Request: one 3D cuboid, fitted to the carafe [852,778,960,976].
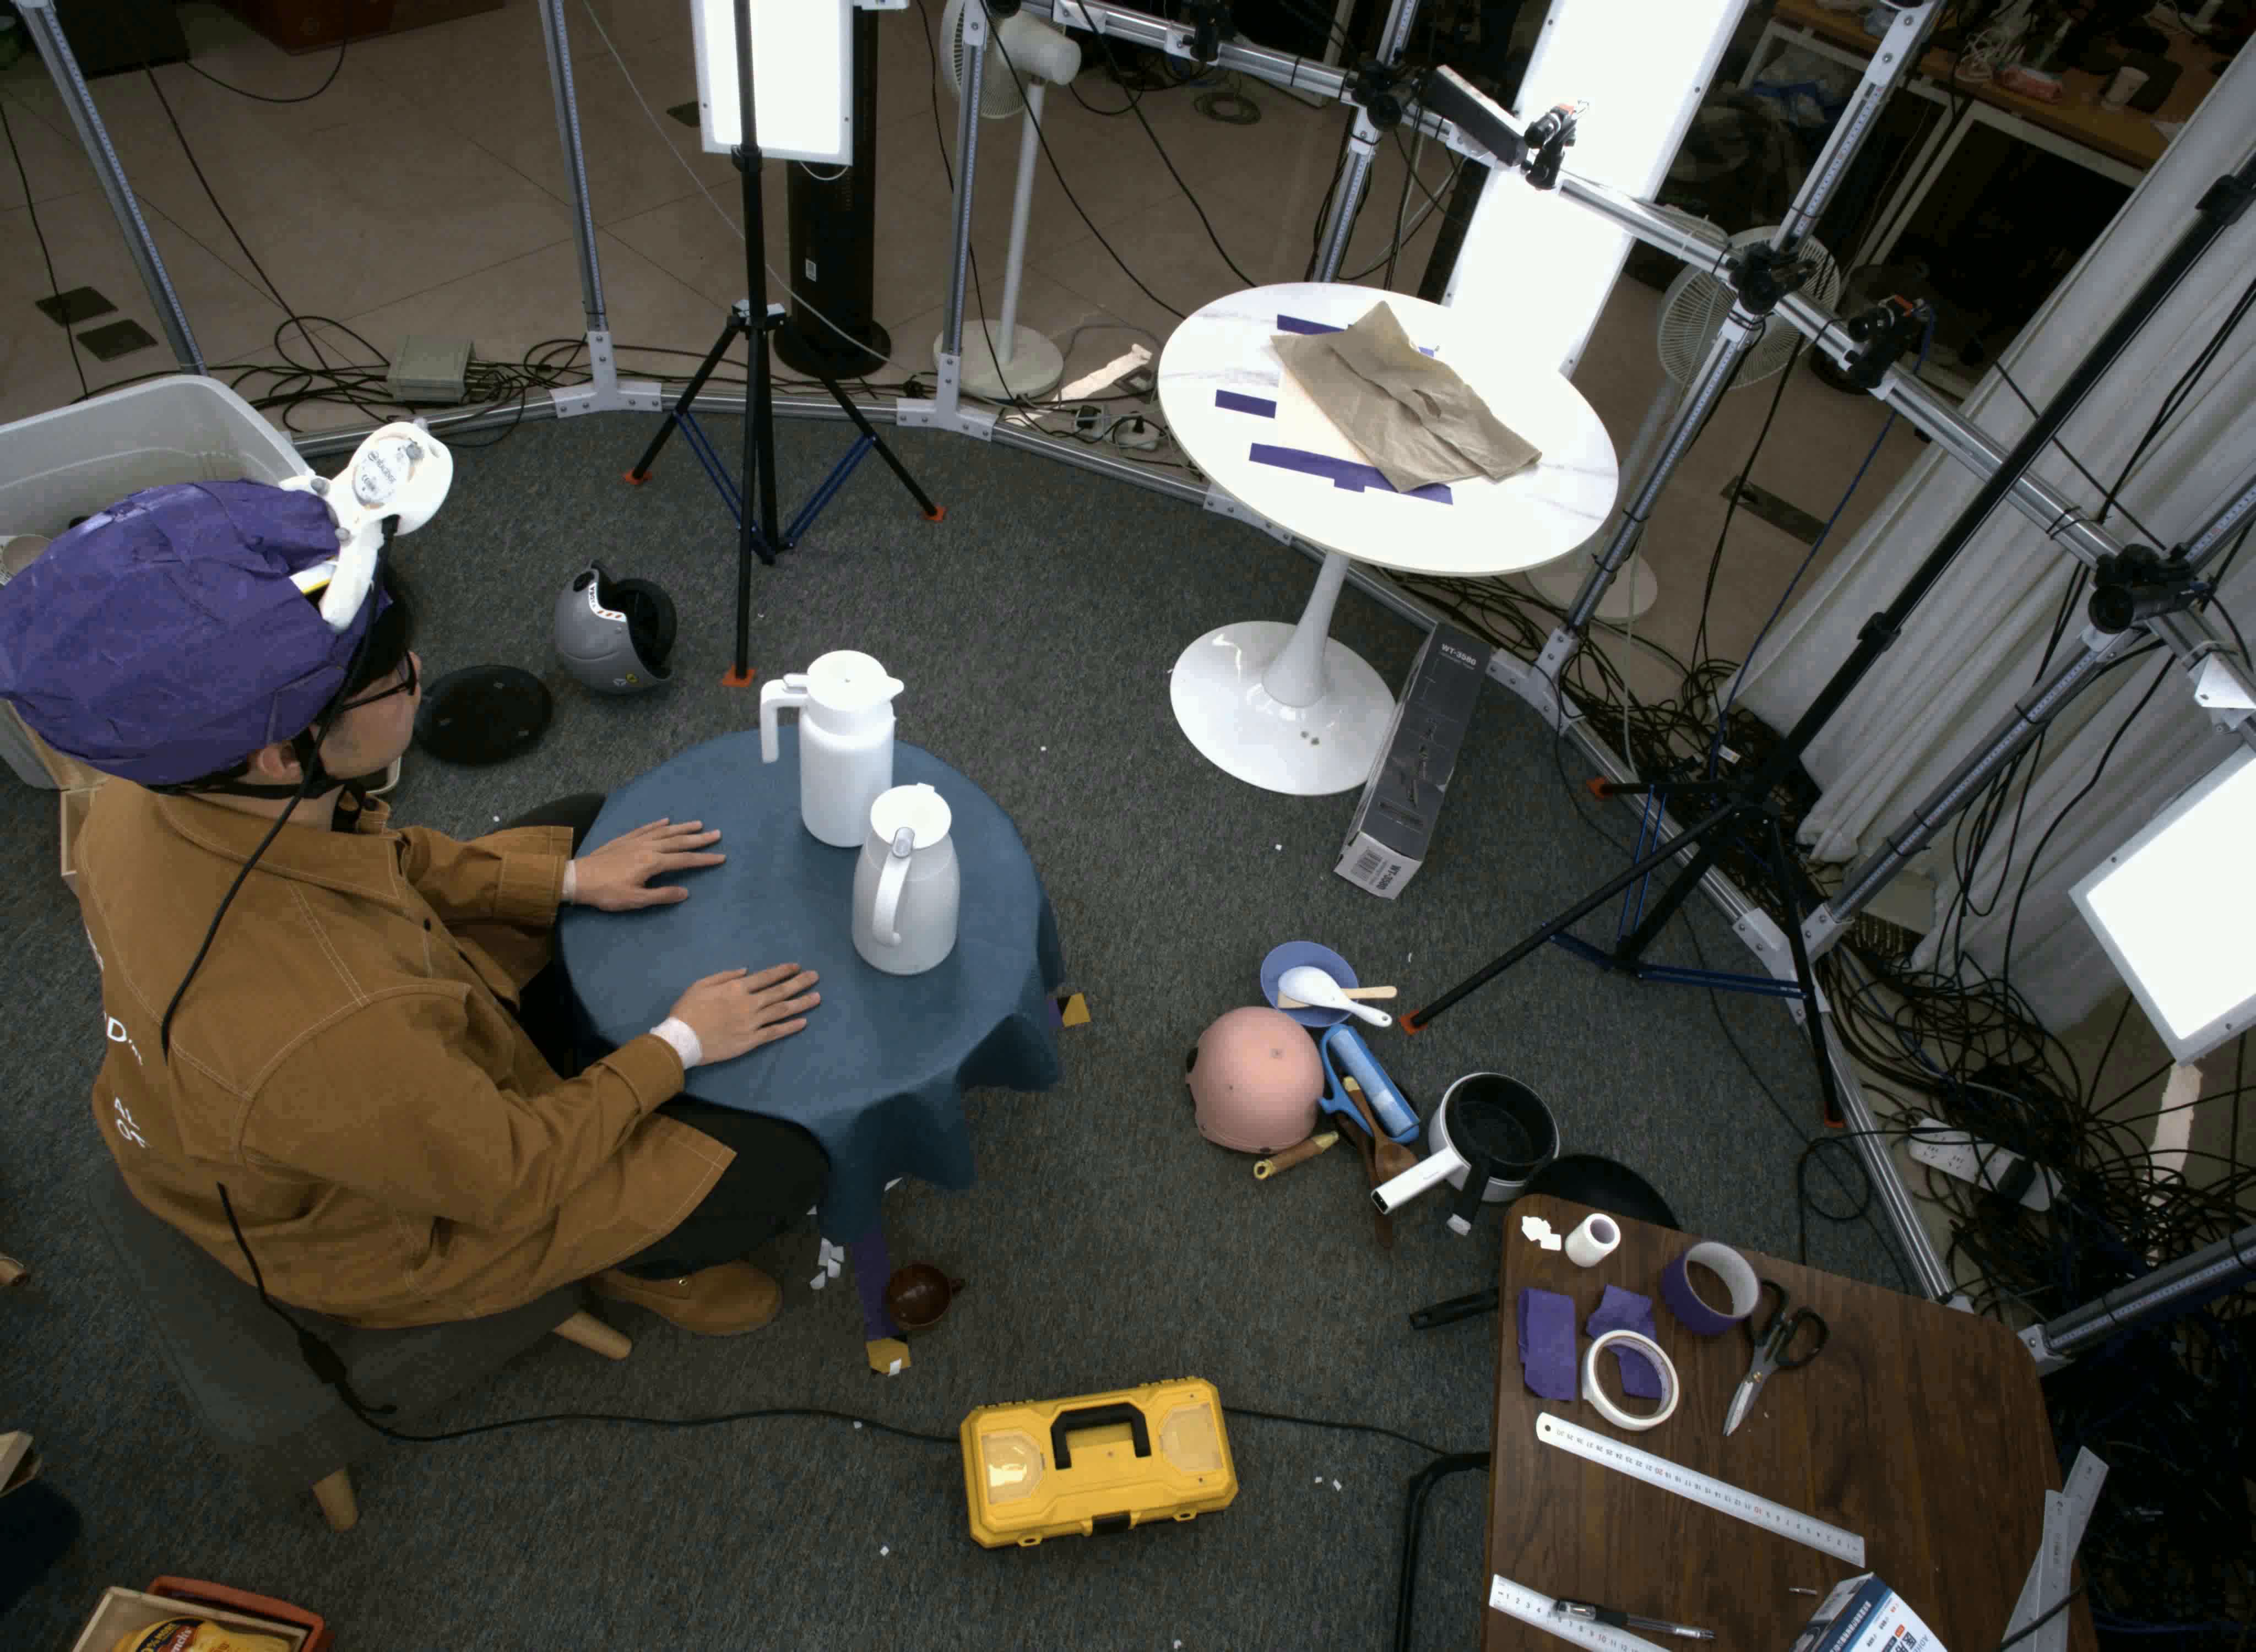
[{"bbox_3d":[-0.268,0.071,1.548,0.131,0.254,0.165,13,52,-1],"label":"carafe"}]

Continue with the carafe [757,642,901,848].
[{"bbox_3d":[-0.375,-0.097,1.634,0.173,0.274,0.121,-2,55,-14],"label":"carafe"}]
